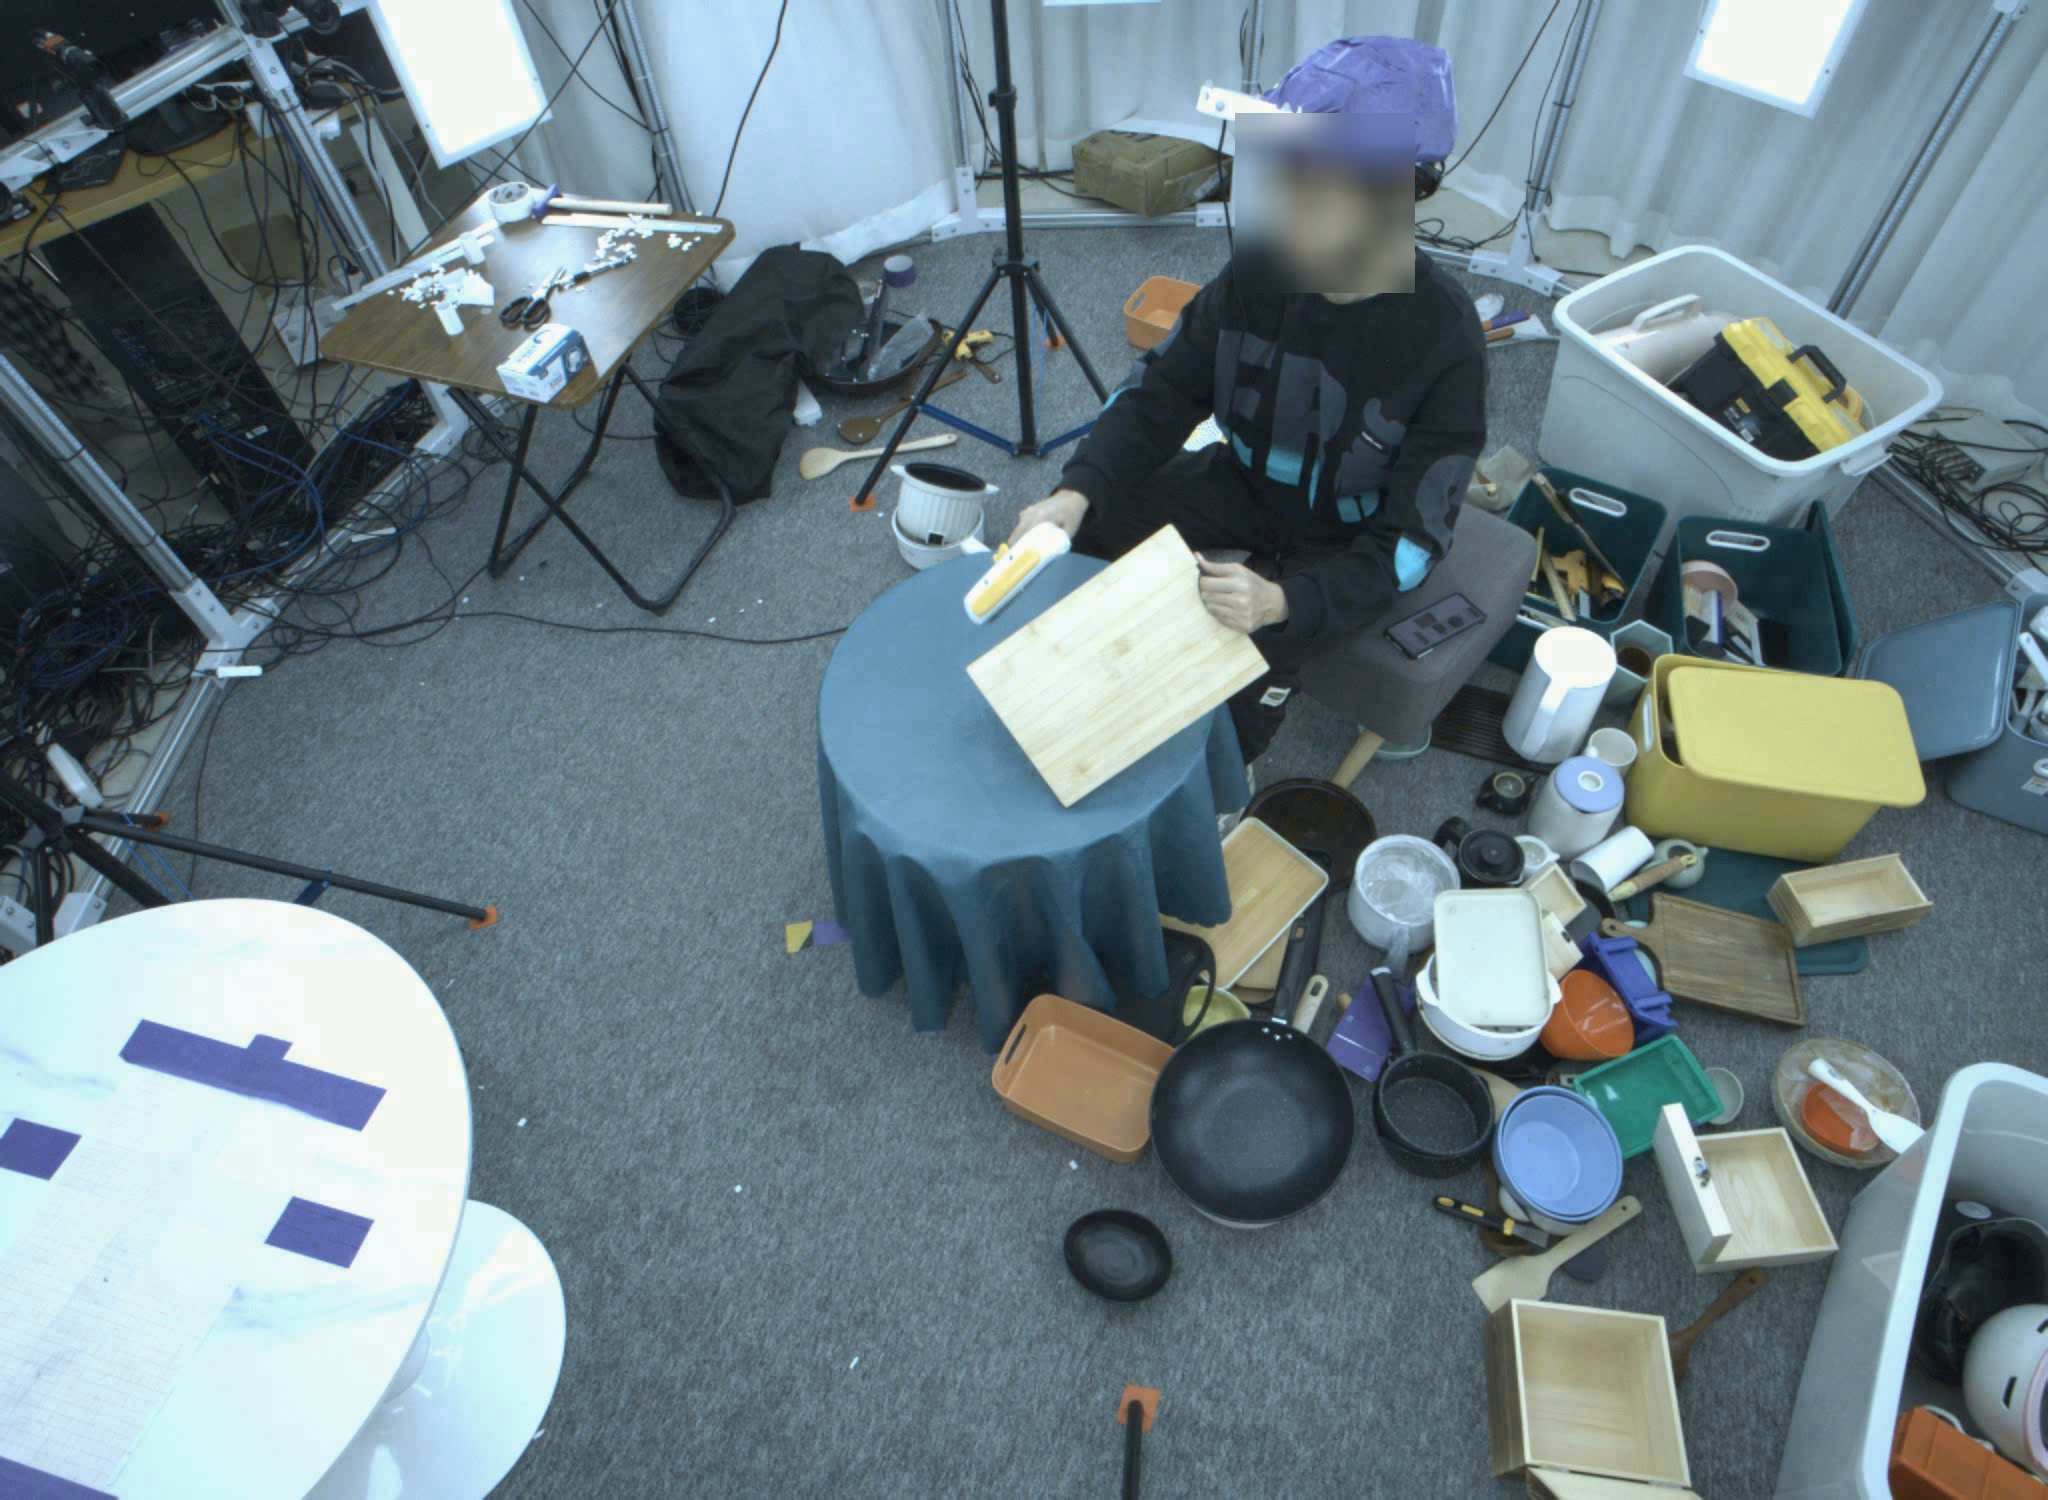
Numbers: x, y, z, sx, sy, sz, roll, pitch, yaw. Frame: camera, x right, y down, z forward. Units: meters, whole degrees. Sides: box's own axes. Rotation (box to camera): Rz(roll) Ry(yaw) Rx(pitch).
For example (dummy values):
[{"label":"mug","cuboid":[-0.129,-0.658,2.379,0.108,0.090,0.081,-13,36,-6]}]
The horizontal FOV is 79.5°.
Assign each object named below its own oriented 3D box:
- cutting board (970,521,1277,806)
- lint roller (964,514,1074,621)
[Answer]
[{"label":"cutting board","cuboid":[0.132,-0.115,1.677,0.347,0.023,0.252,-35,101,7]},{"label":"lint roller","cuboid":[0.007,-0.279,1.744,0.074,0.191,0.193,44,34,-1]}]
